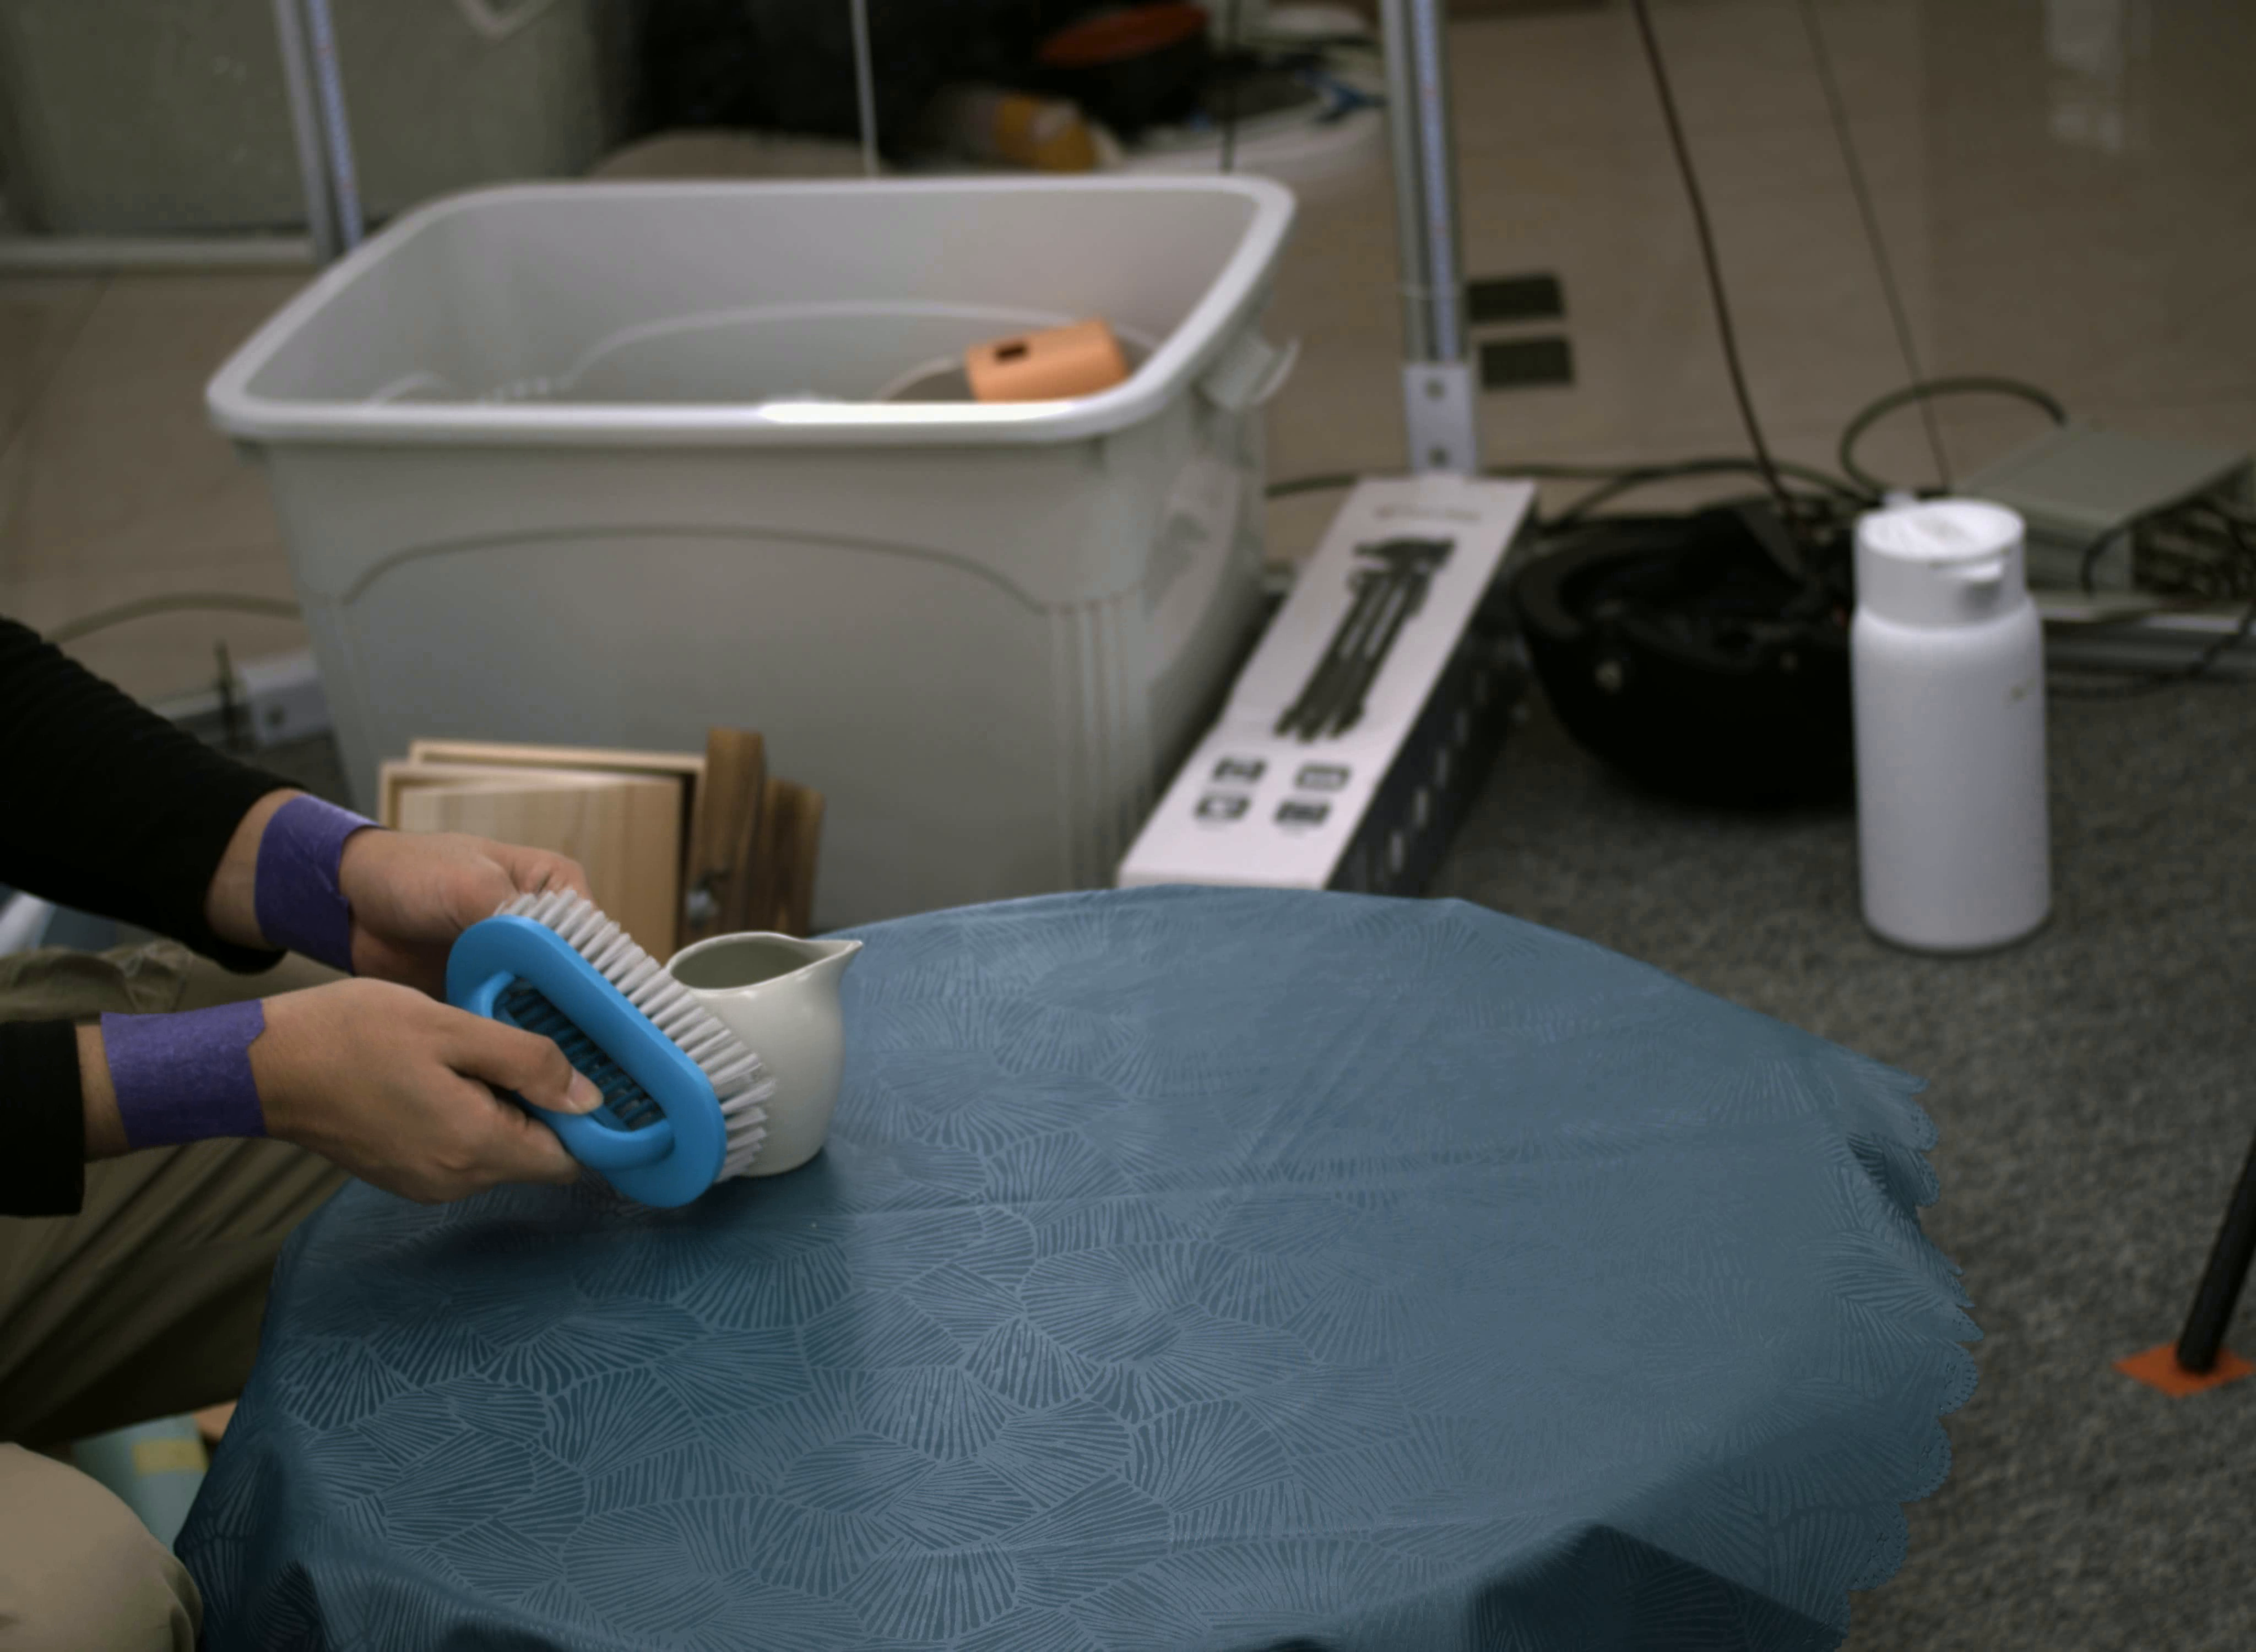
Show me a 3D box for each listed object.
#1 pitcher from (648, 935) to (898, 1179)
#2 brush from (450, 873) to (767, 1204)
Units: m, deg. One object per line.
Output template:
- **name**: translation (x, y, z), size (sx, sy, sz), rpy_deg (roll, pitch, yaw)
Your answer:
- **pitcher**: translation (-0.146, 0.087, 2.188), size (0.119, 0.089, 0.075), rpy_deg (3, 21, 10)
- **brush**: translation (-0.207, 0.089, 2.142), size (0.141, 0.085, 0.063), rpy_deg (44, 44, 10)
